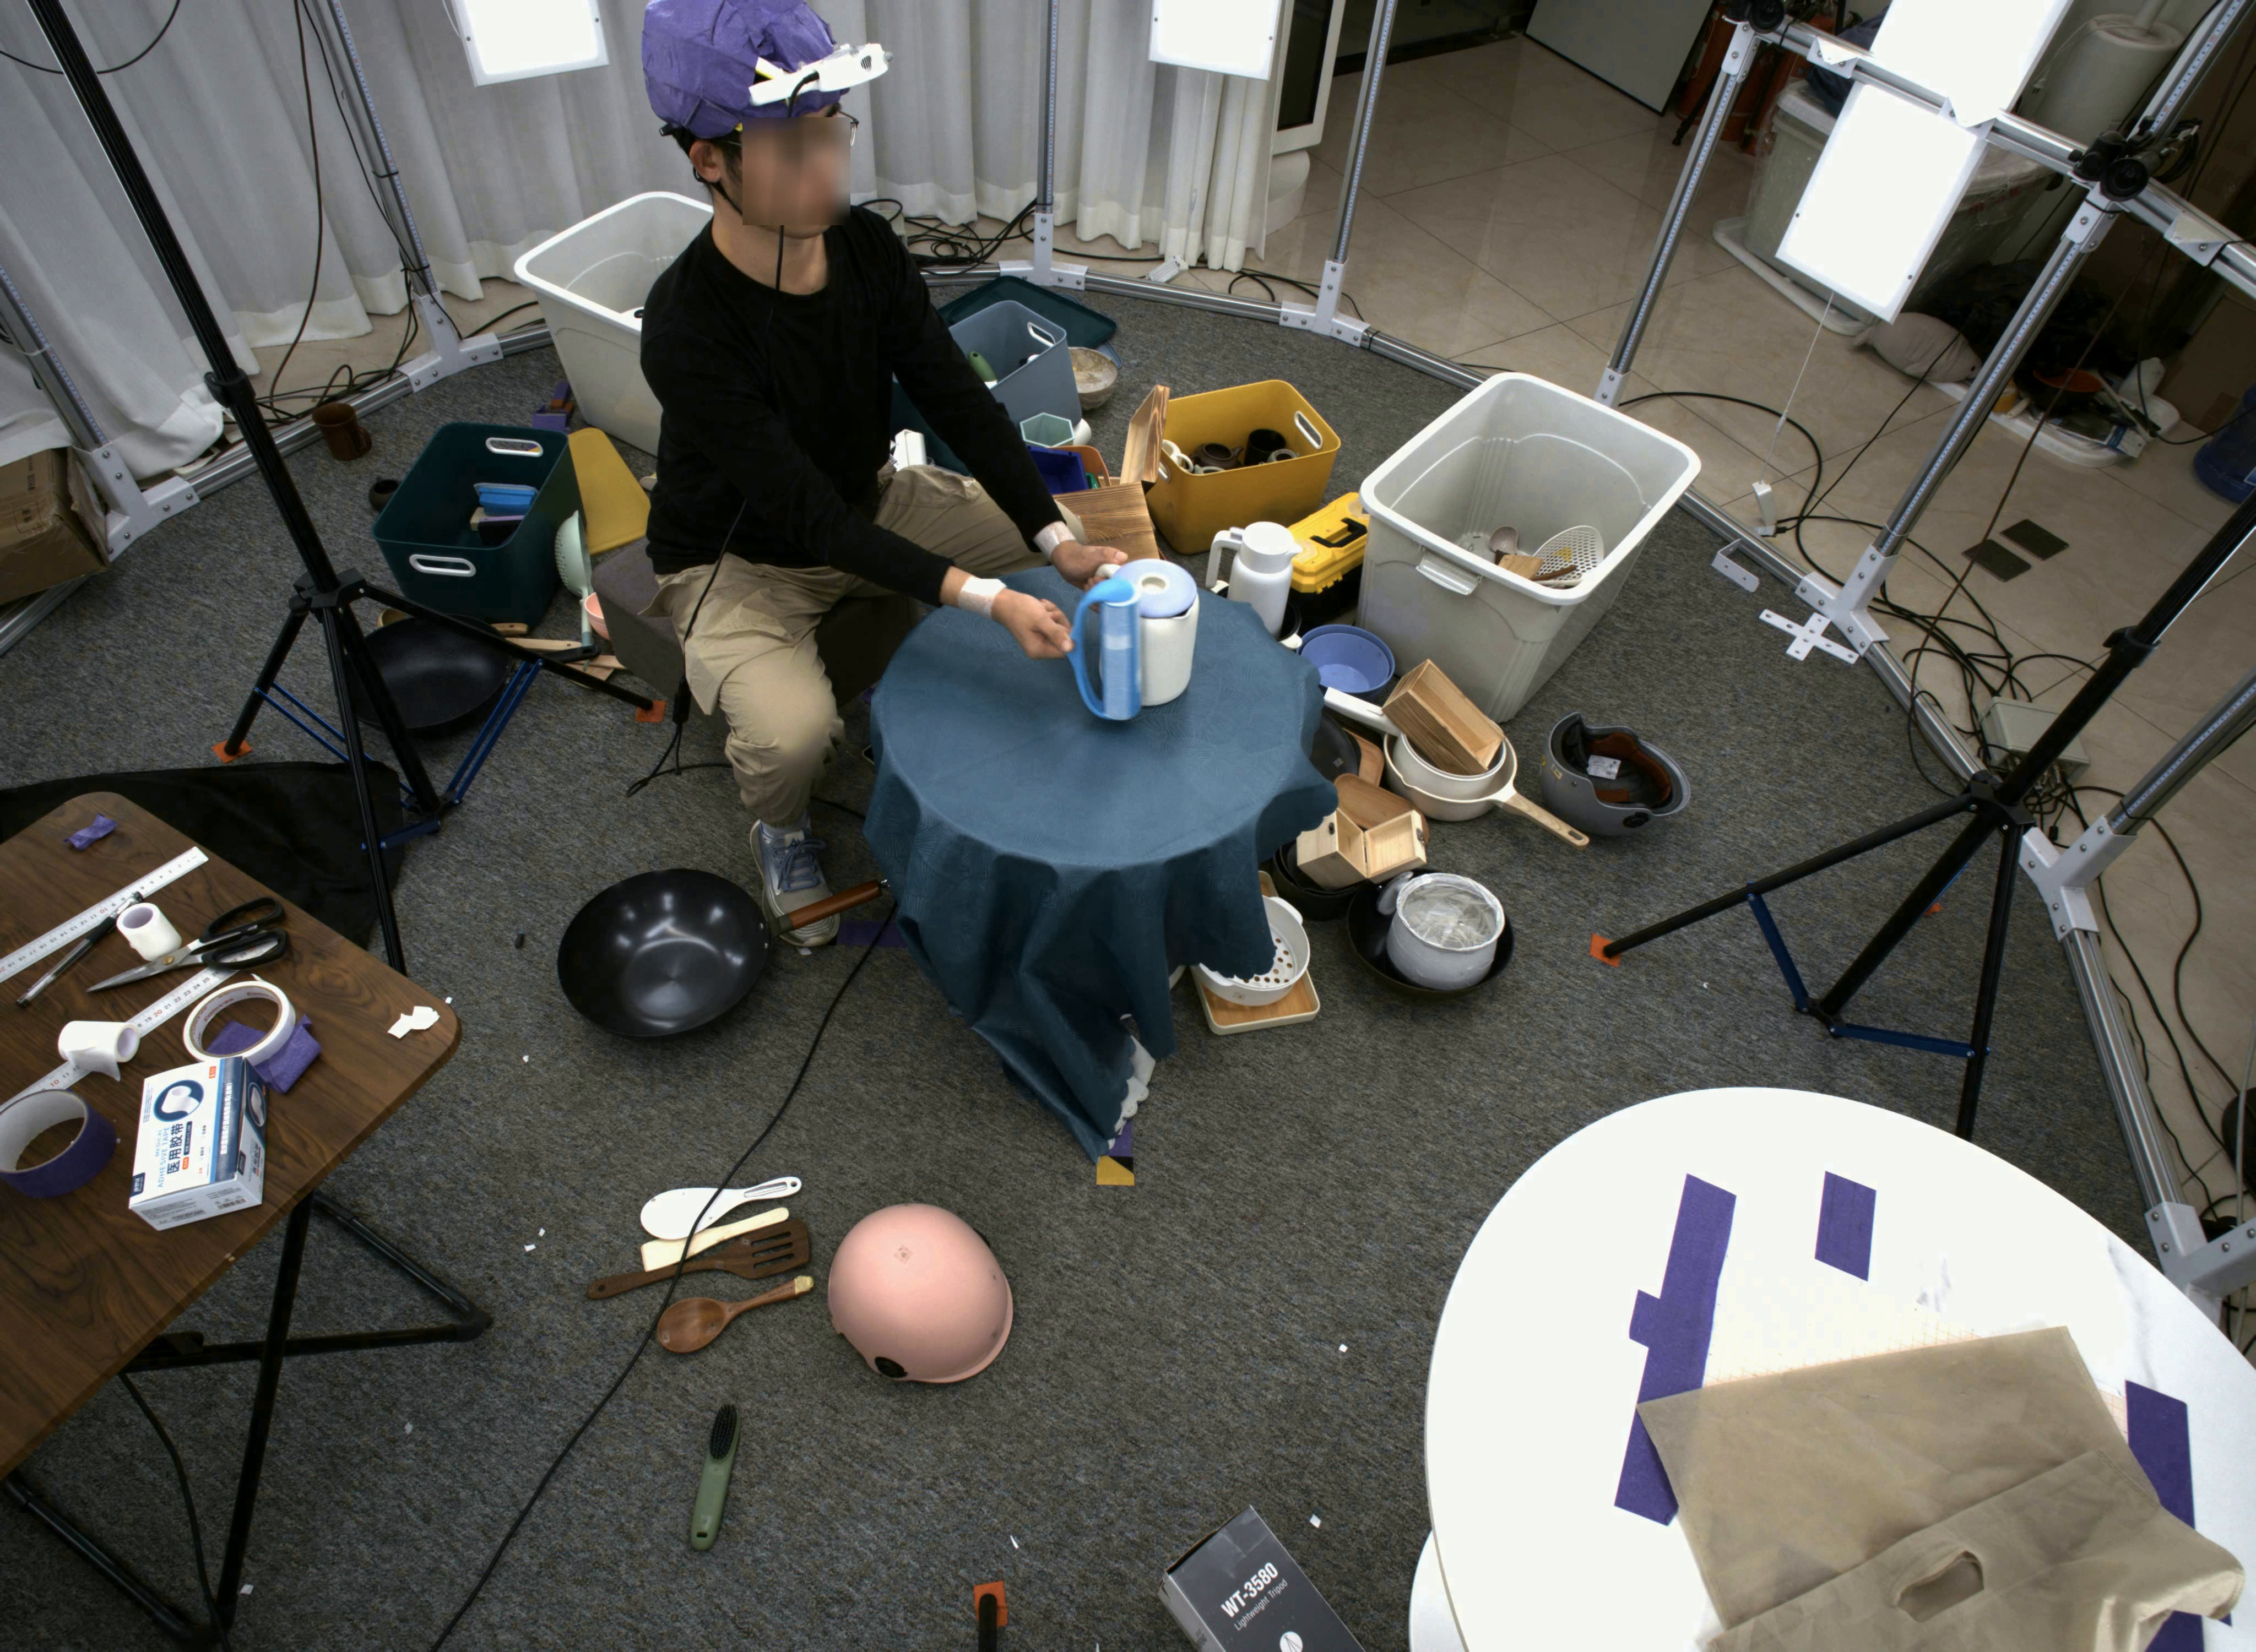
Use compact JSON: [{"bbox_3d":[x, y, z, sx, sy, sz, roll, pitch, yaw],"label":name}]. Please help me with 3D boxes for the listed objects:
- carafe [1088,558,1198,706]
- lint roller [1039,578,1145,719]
[{"bbox_3d":[0.012,-0.284,1.807,0.133,0.178,0.194,-32,56,-28],"label":"carafe"},{"bbox_3d":[-0.058,-0.252,1.734,0.182,0.223,0.069,21,52,23],"label":"lint roller"}]
